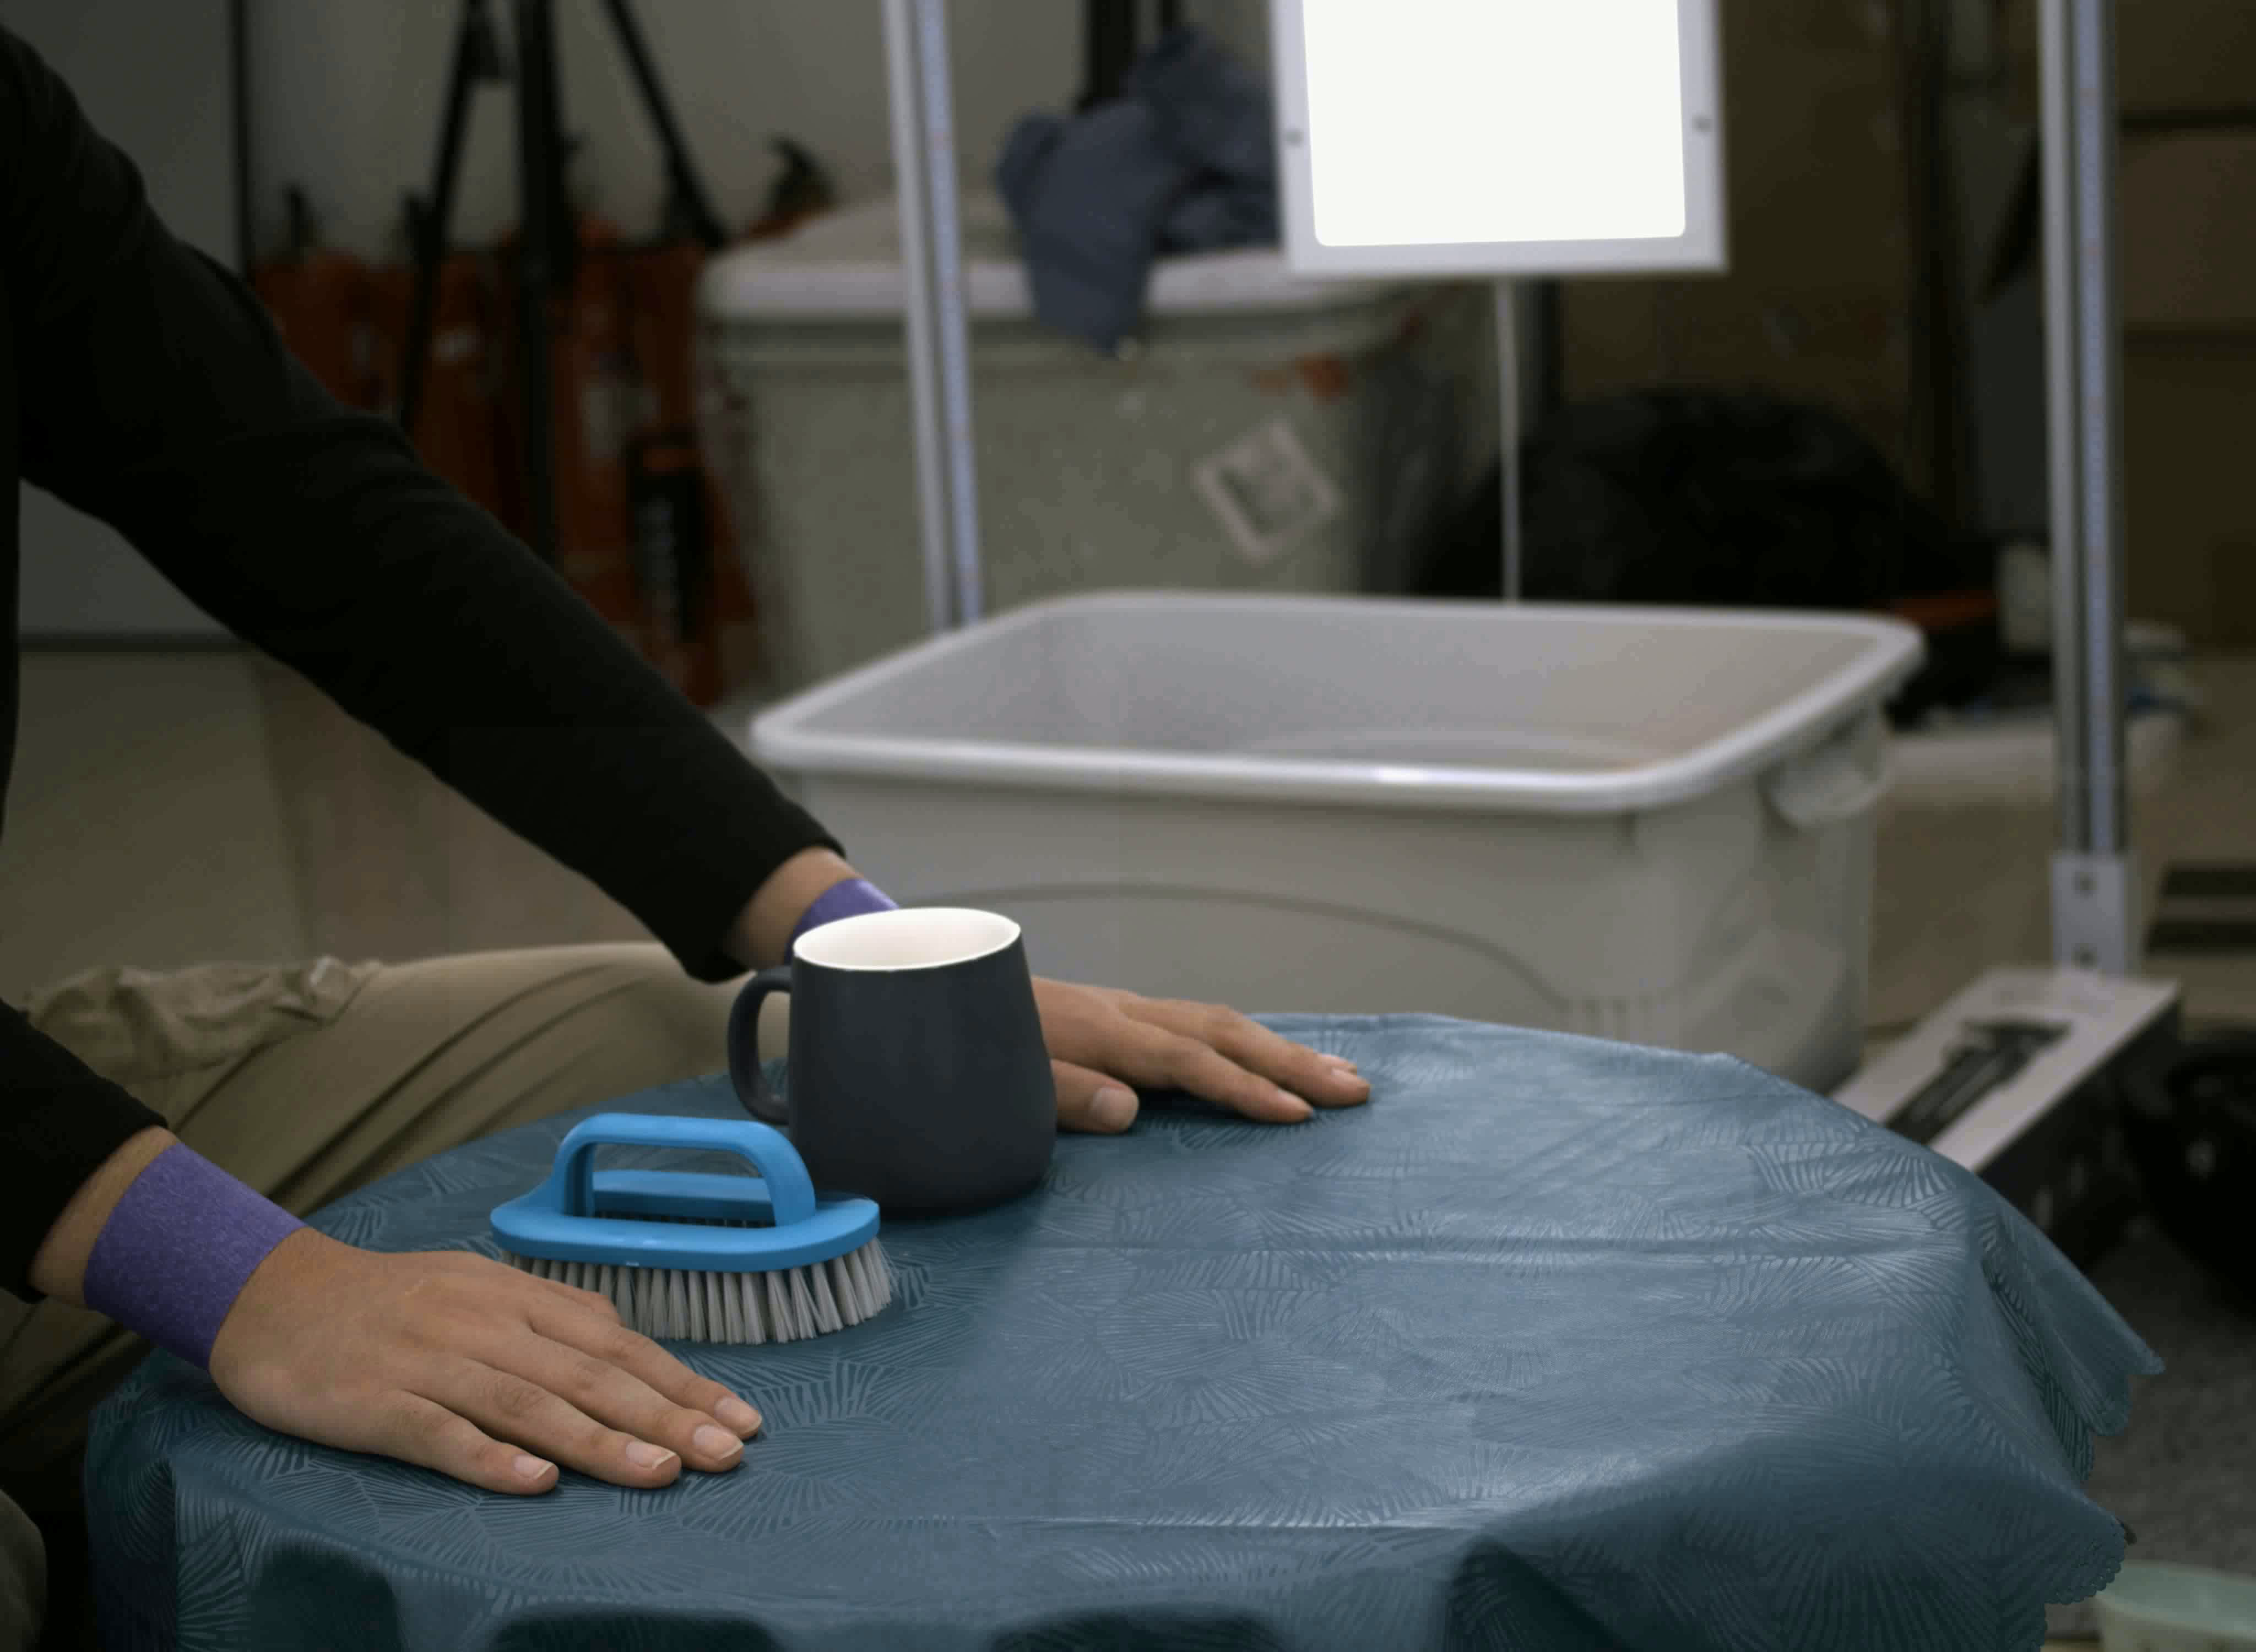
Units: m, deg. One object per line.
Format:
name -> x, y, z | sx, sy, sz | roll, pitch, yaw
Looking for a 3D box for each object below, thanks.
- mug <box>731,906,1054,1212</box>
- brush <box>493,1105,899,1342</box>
mug -> -0.086, 0.079, 1.924 | 0.125, 0.090, 0.091 | 6, 17, 34
brush -> -0.147, 0.124, 1.820 | 0.144, 0.064, 0.082 | 1, 19, 28
